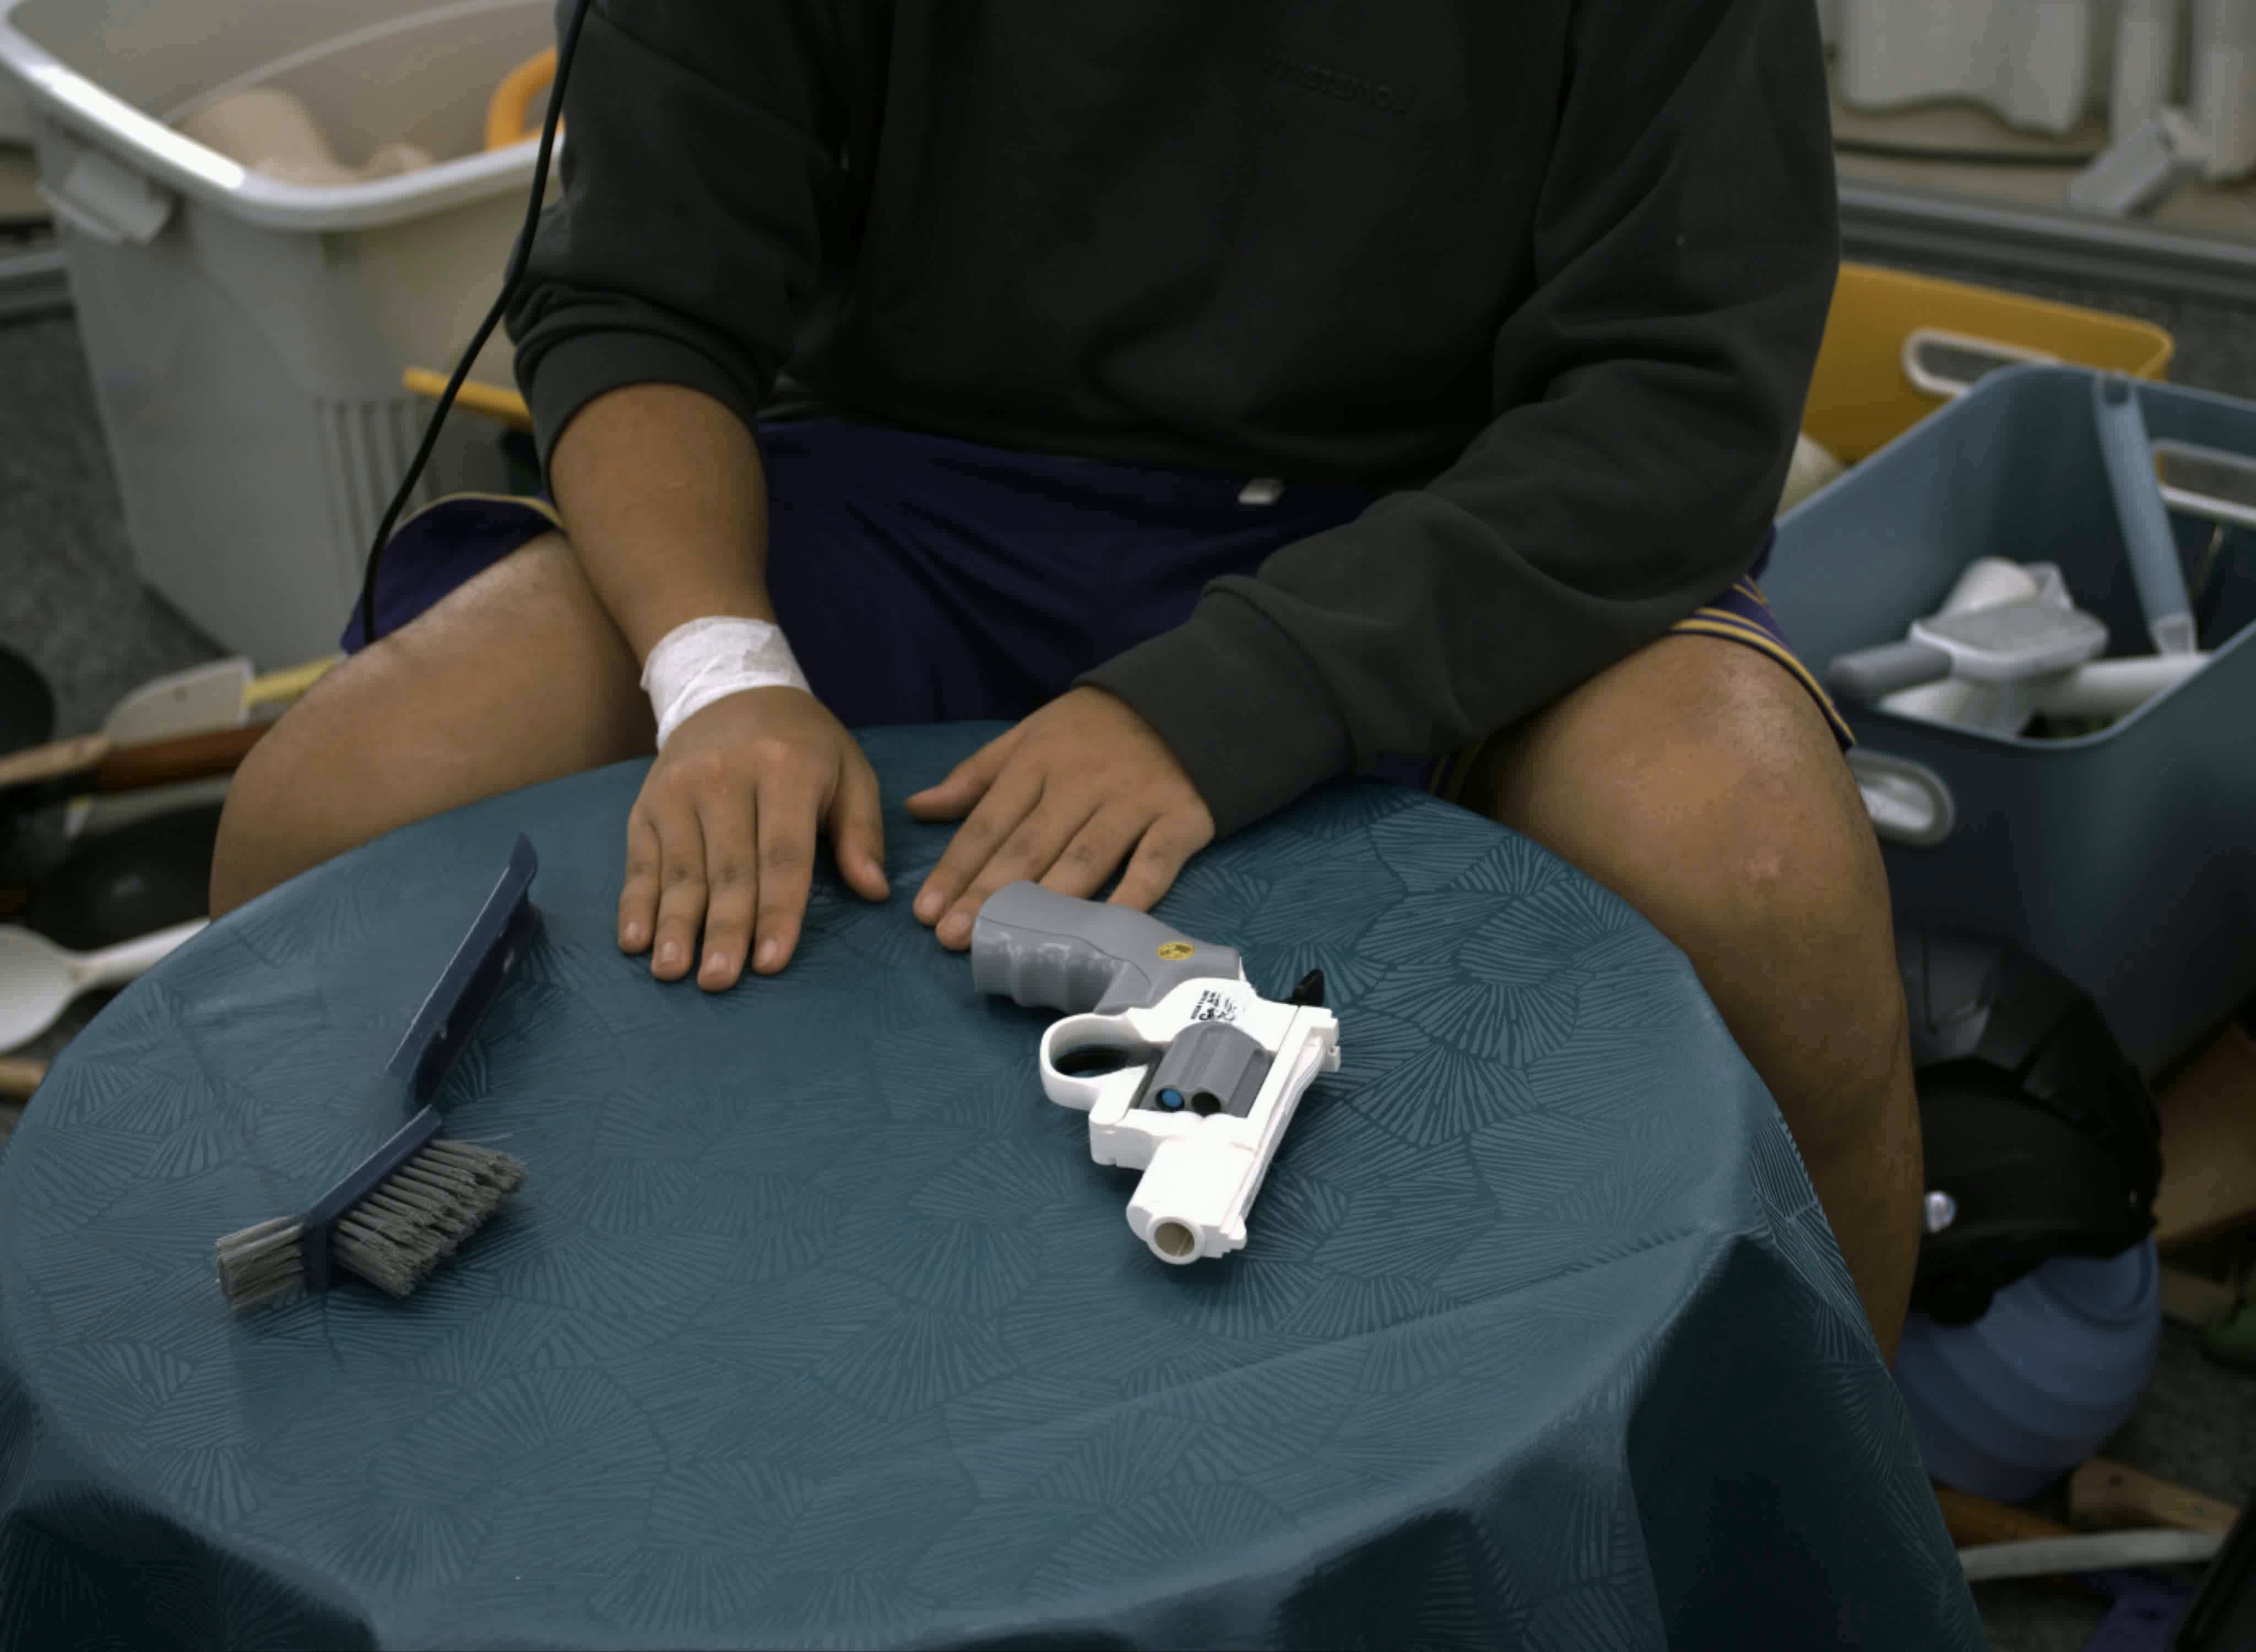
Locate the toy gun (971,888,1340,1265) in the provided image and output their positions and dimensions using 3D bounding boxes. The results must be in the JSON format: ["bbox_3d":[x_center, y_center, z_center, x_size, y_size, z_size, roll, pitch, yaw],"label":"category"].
[{"bbox_3d":[-0.003,0.082,1.899,0.140,0.038,0.213,3,28,14],"label":"toy gun"}]

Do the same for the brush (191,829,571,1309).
[{"bbox_3d":[-0.248,0.081,1.932,0.095,0.033,0.277,0,28,5],"label":"brush"}]
